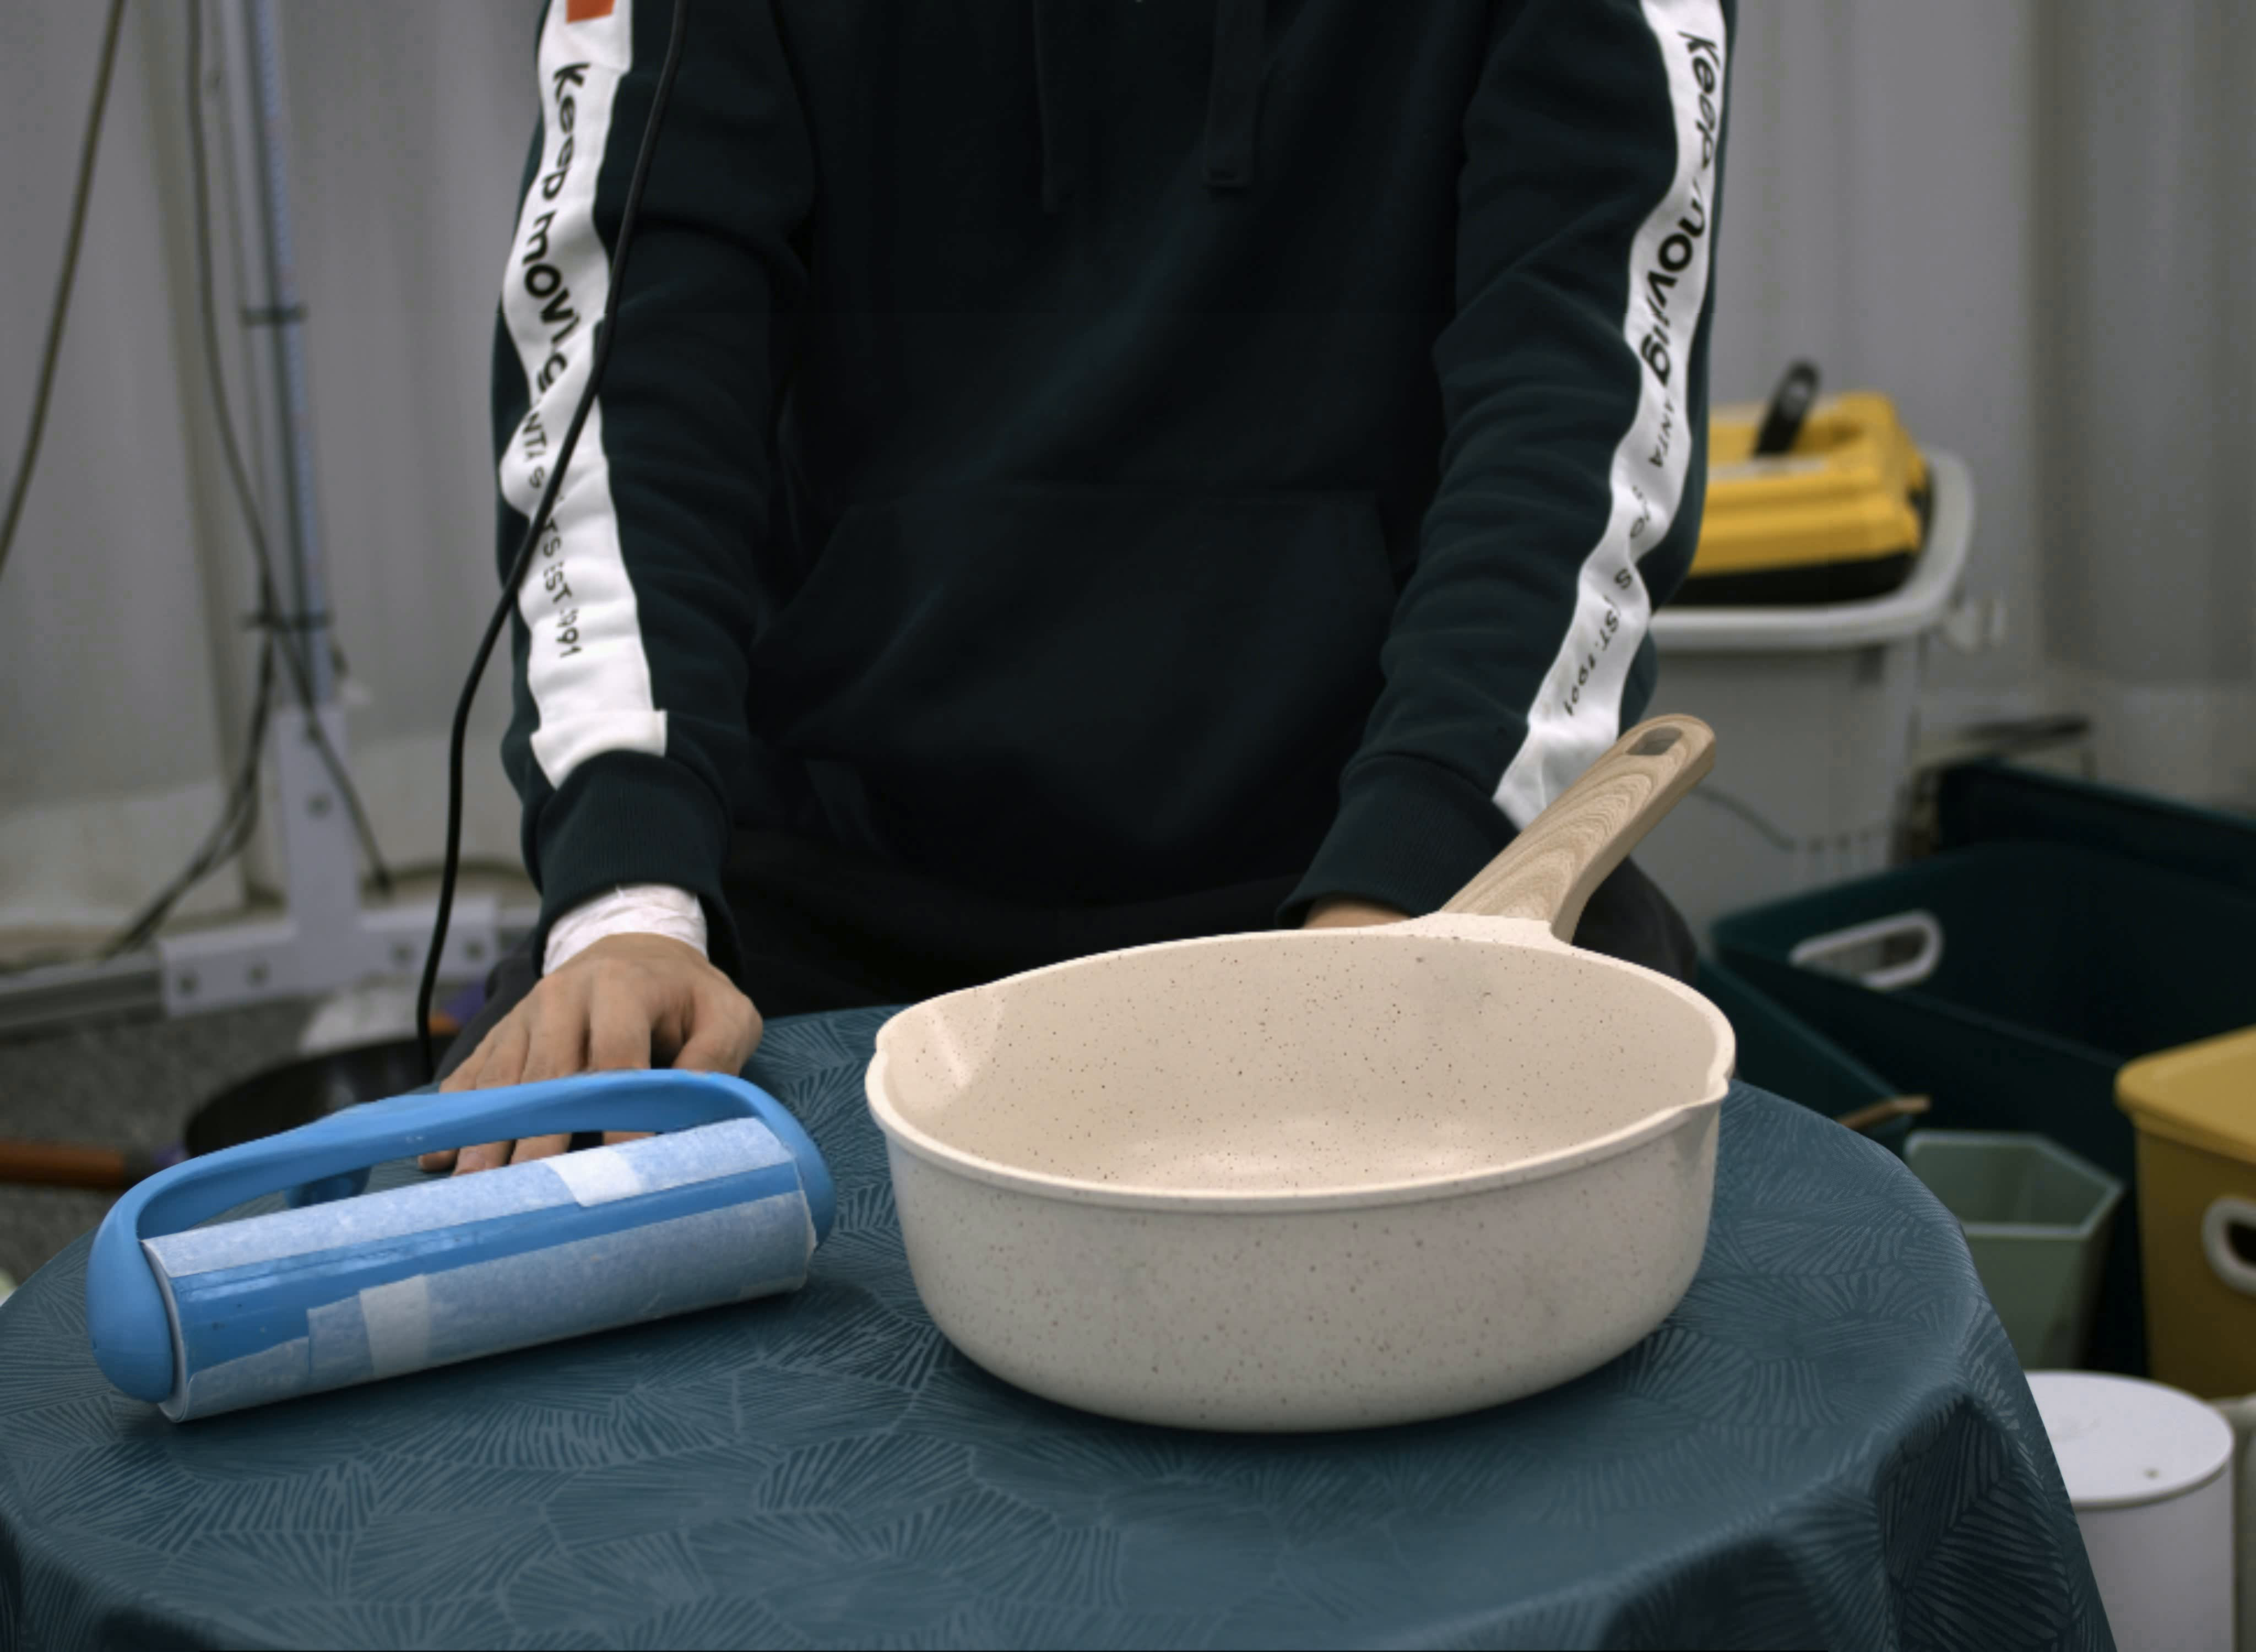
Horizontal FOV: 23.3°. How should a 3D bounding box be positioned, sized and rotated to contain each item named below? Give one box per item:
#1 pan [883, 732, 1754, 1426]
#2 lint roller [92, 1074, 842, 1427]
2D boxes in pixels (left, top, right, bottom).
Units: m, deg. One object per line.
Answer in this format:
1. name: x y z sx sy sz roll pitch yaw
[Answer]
1. pan: 0.095 0.072 1.660 0.264 0.101 0.436 3 16 26
2. lint roller: -0.219 0.116 1.646 0.228 0.067 0.181 -13 18 -27
